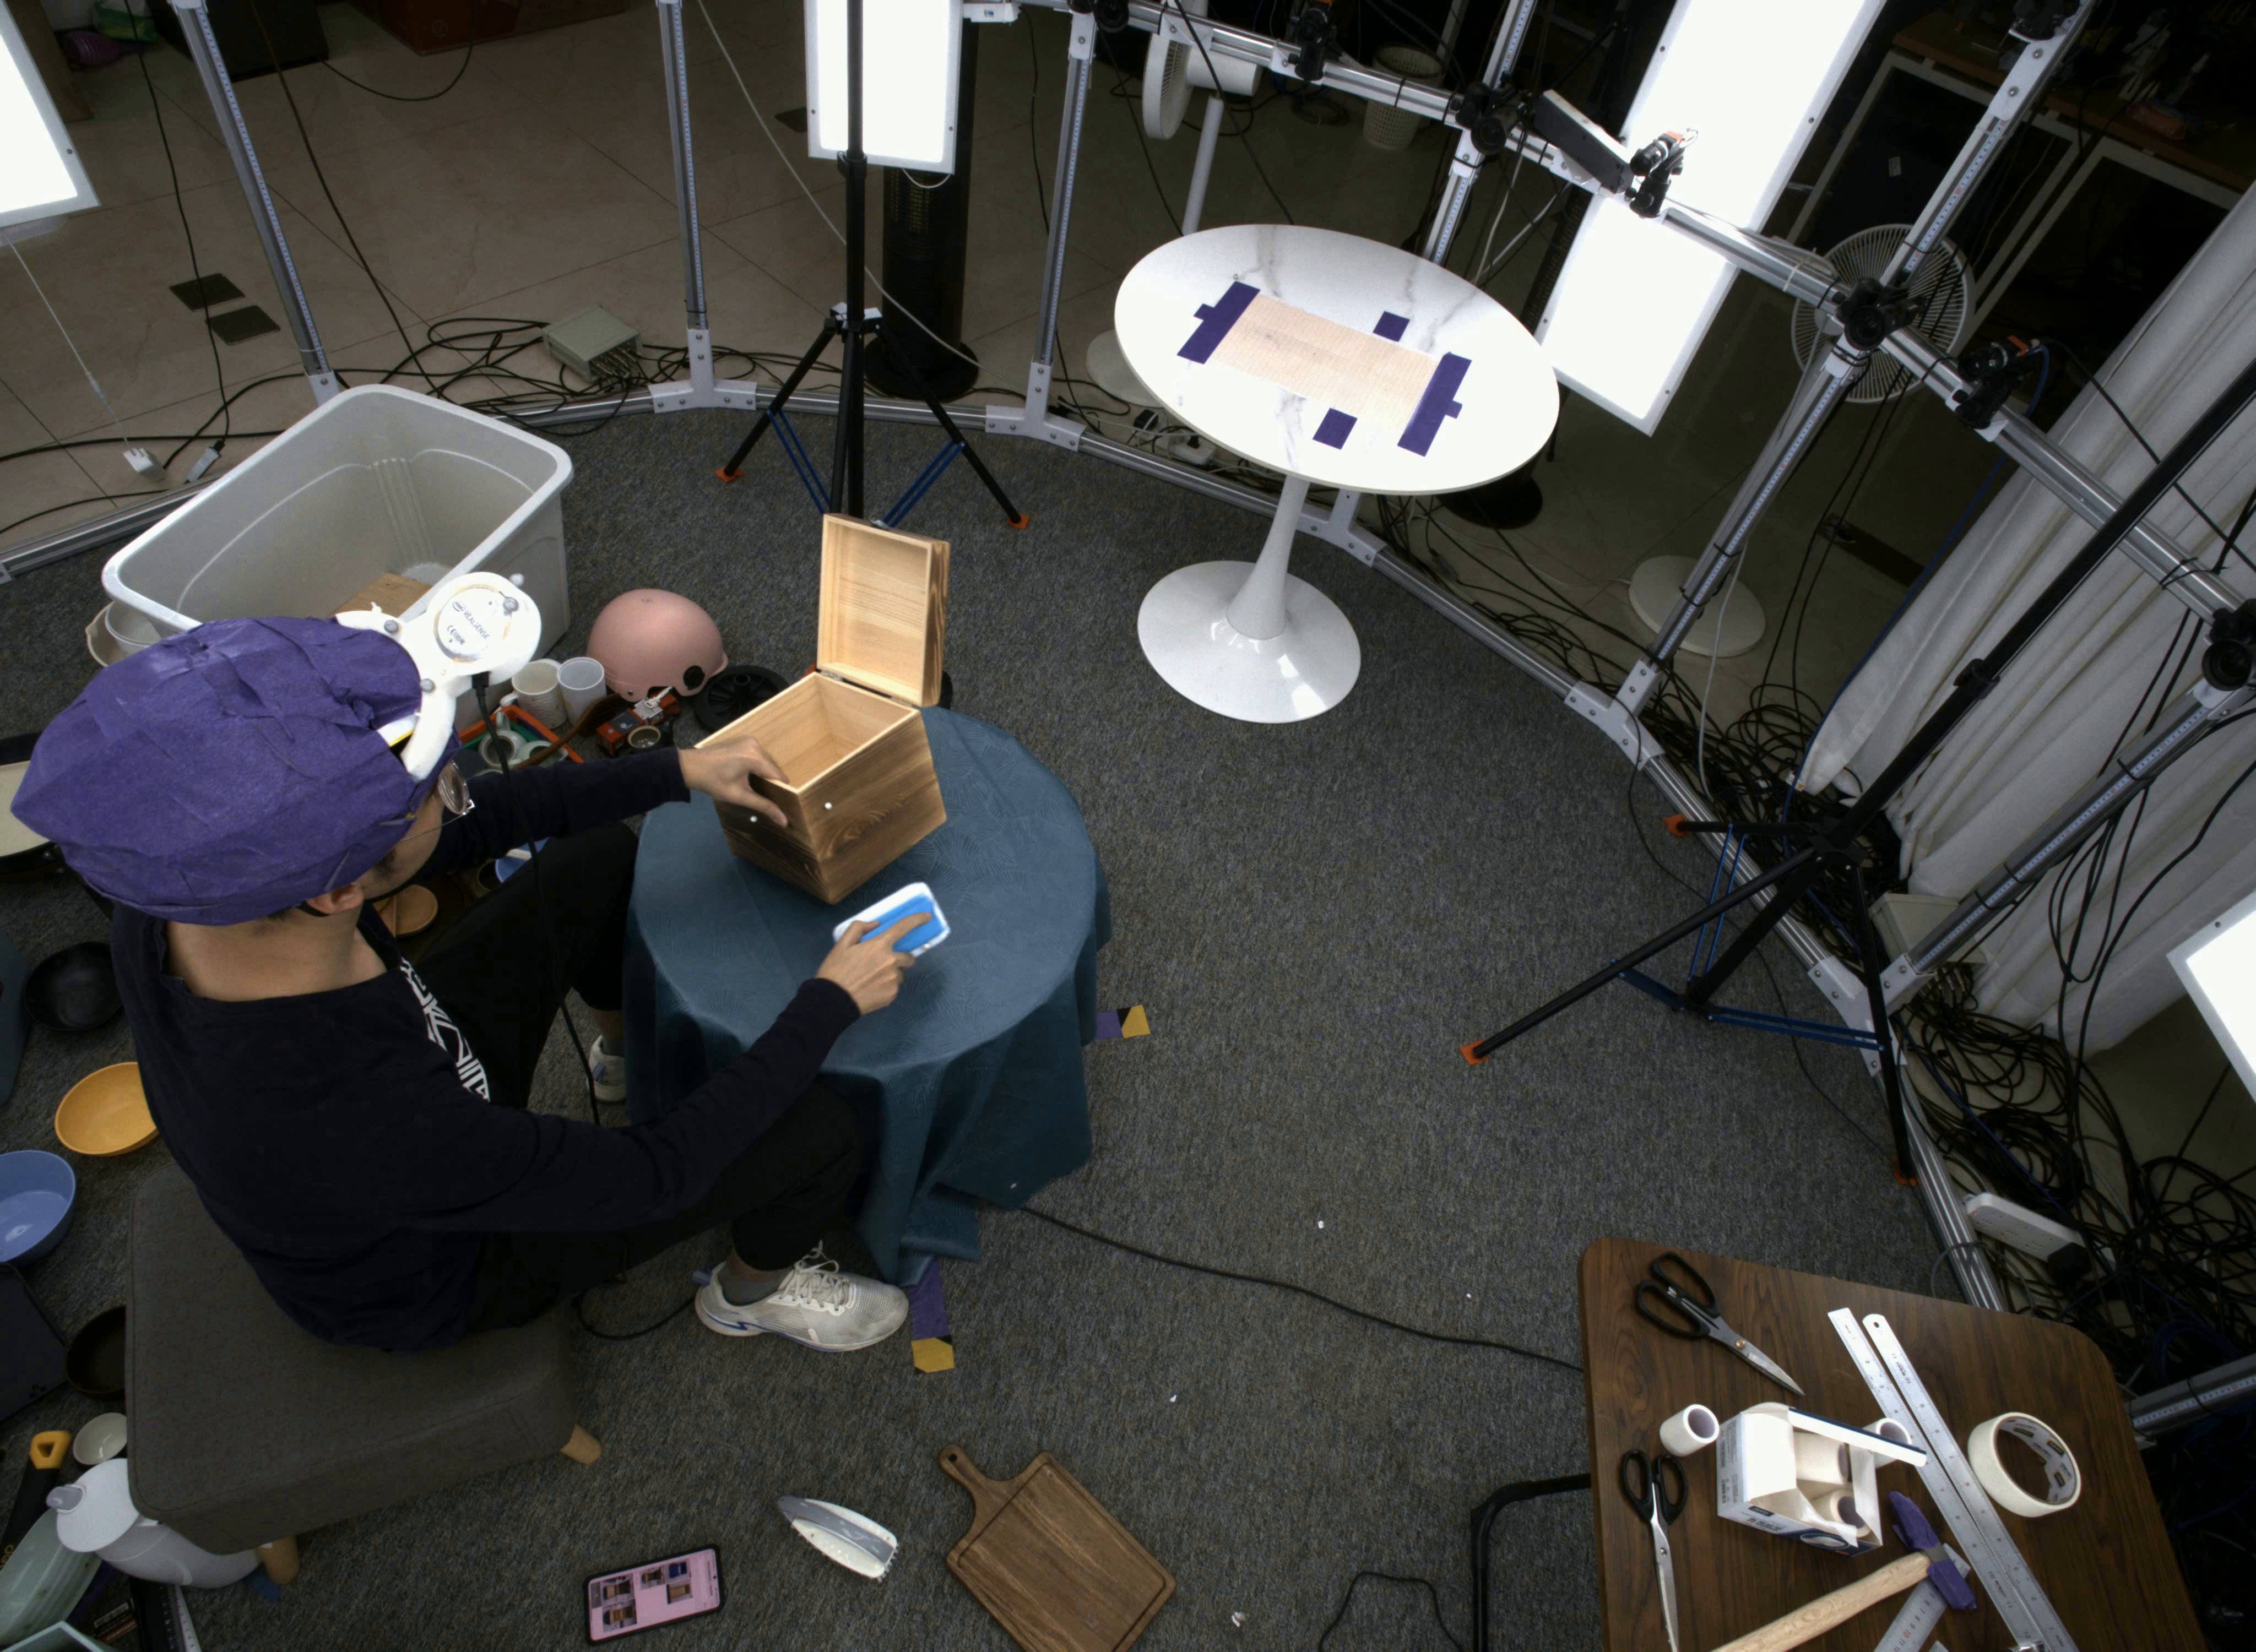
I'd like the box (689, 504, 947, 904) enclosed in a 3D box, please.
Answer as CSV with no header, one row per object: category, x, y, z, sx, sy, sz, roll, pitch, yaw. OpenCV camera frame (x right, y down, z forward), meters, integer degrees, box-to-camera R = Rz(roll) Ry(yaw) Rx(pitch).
box,-0.368,-0.161,1.594,0.201,0.389,0.322,20,45,33

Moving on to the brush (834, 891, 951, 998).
brush,-0.272,0.133,1.534,0.144,0.055,0.085,-34,100,-38
